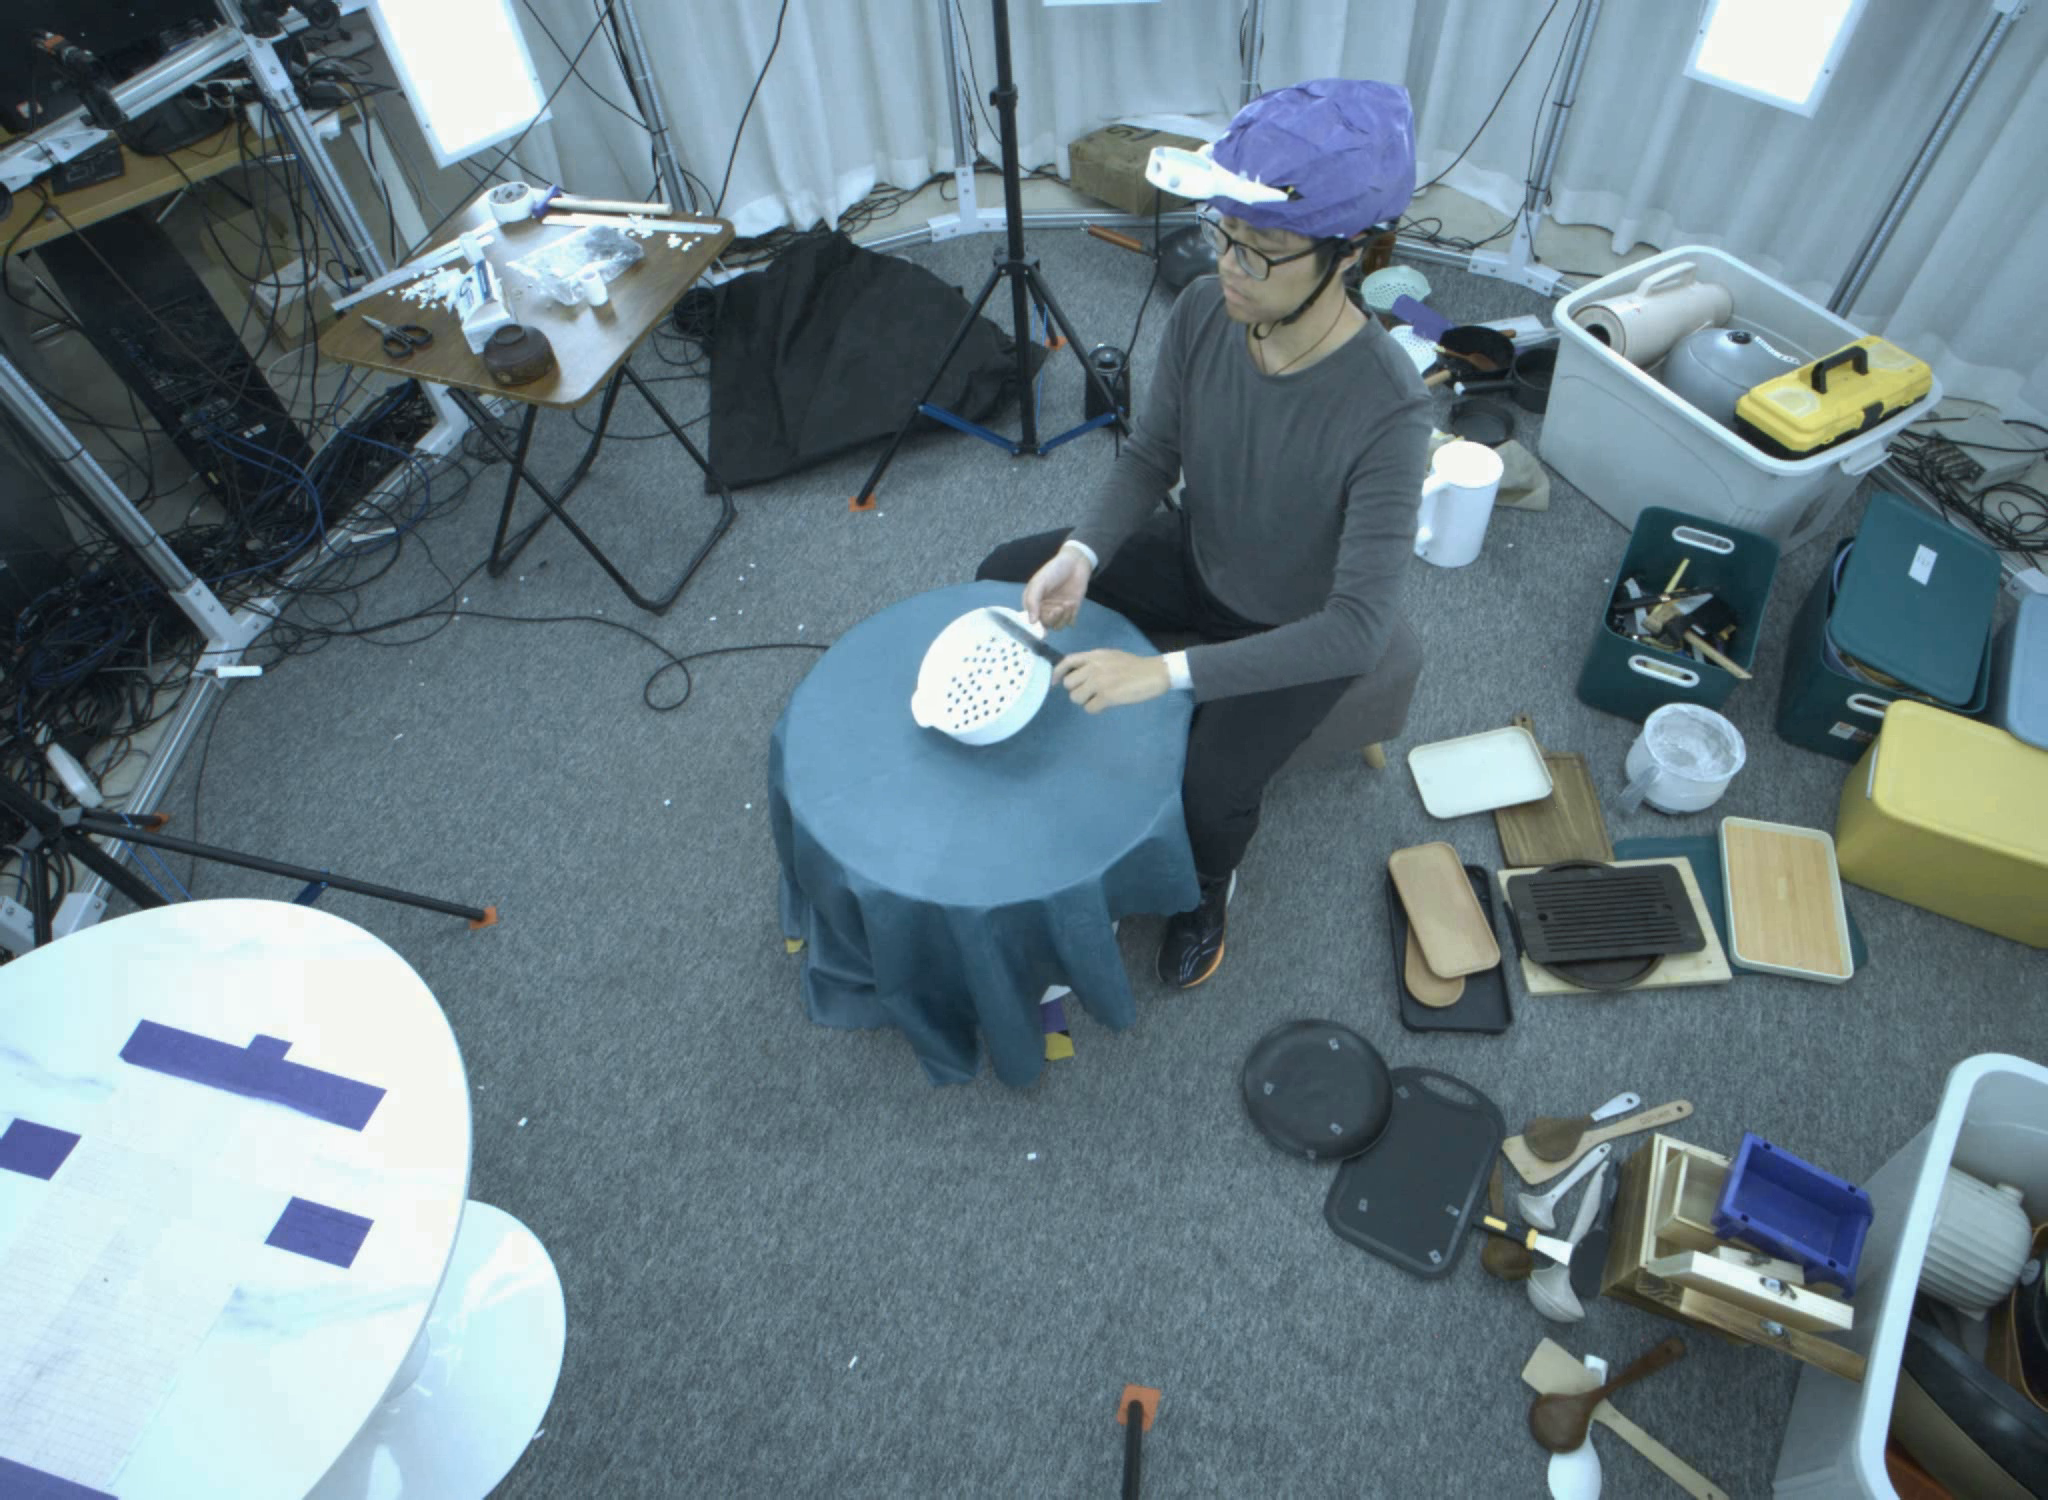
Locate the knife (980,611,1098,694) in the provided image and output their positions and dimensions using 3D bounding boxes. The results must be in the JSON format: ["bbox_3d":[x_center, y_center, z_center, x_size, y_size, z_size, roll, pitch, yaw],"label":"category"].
[{"bbox_3d":[0.018,-0.141,1.687,0.233,0.016,0.024,37,93,32],"label":"knife"}]

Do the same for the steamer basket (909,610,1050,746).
[{"bbox_3d":[-0.058,-0.102,1.787,0.229,0.071,0.198,-35,53,12],"label":"steamer basket"}]
